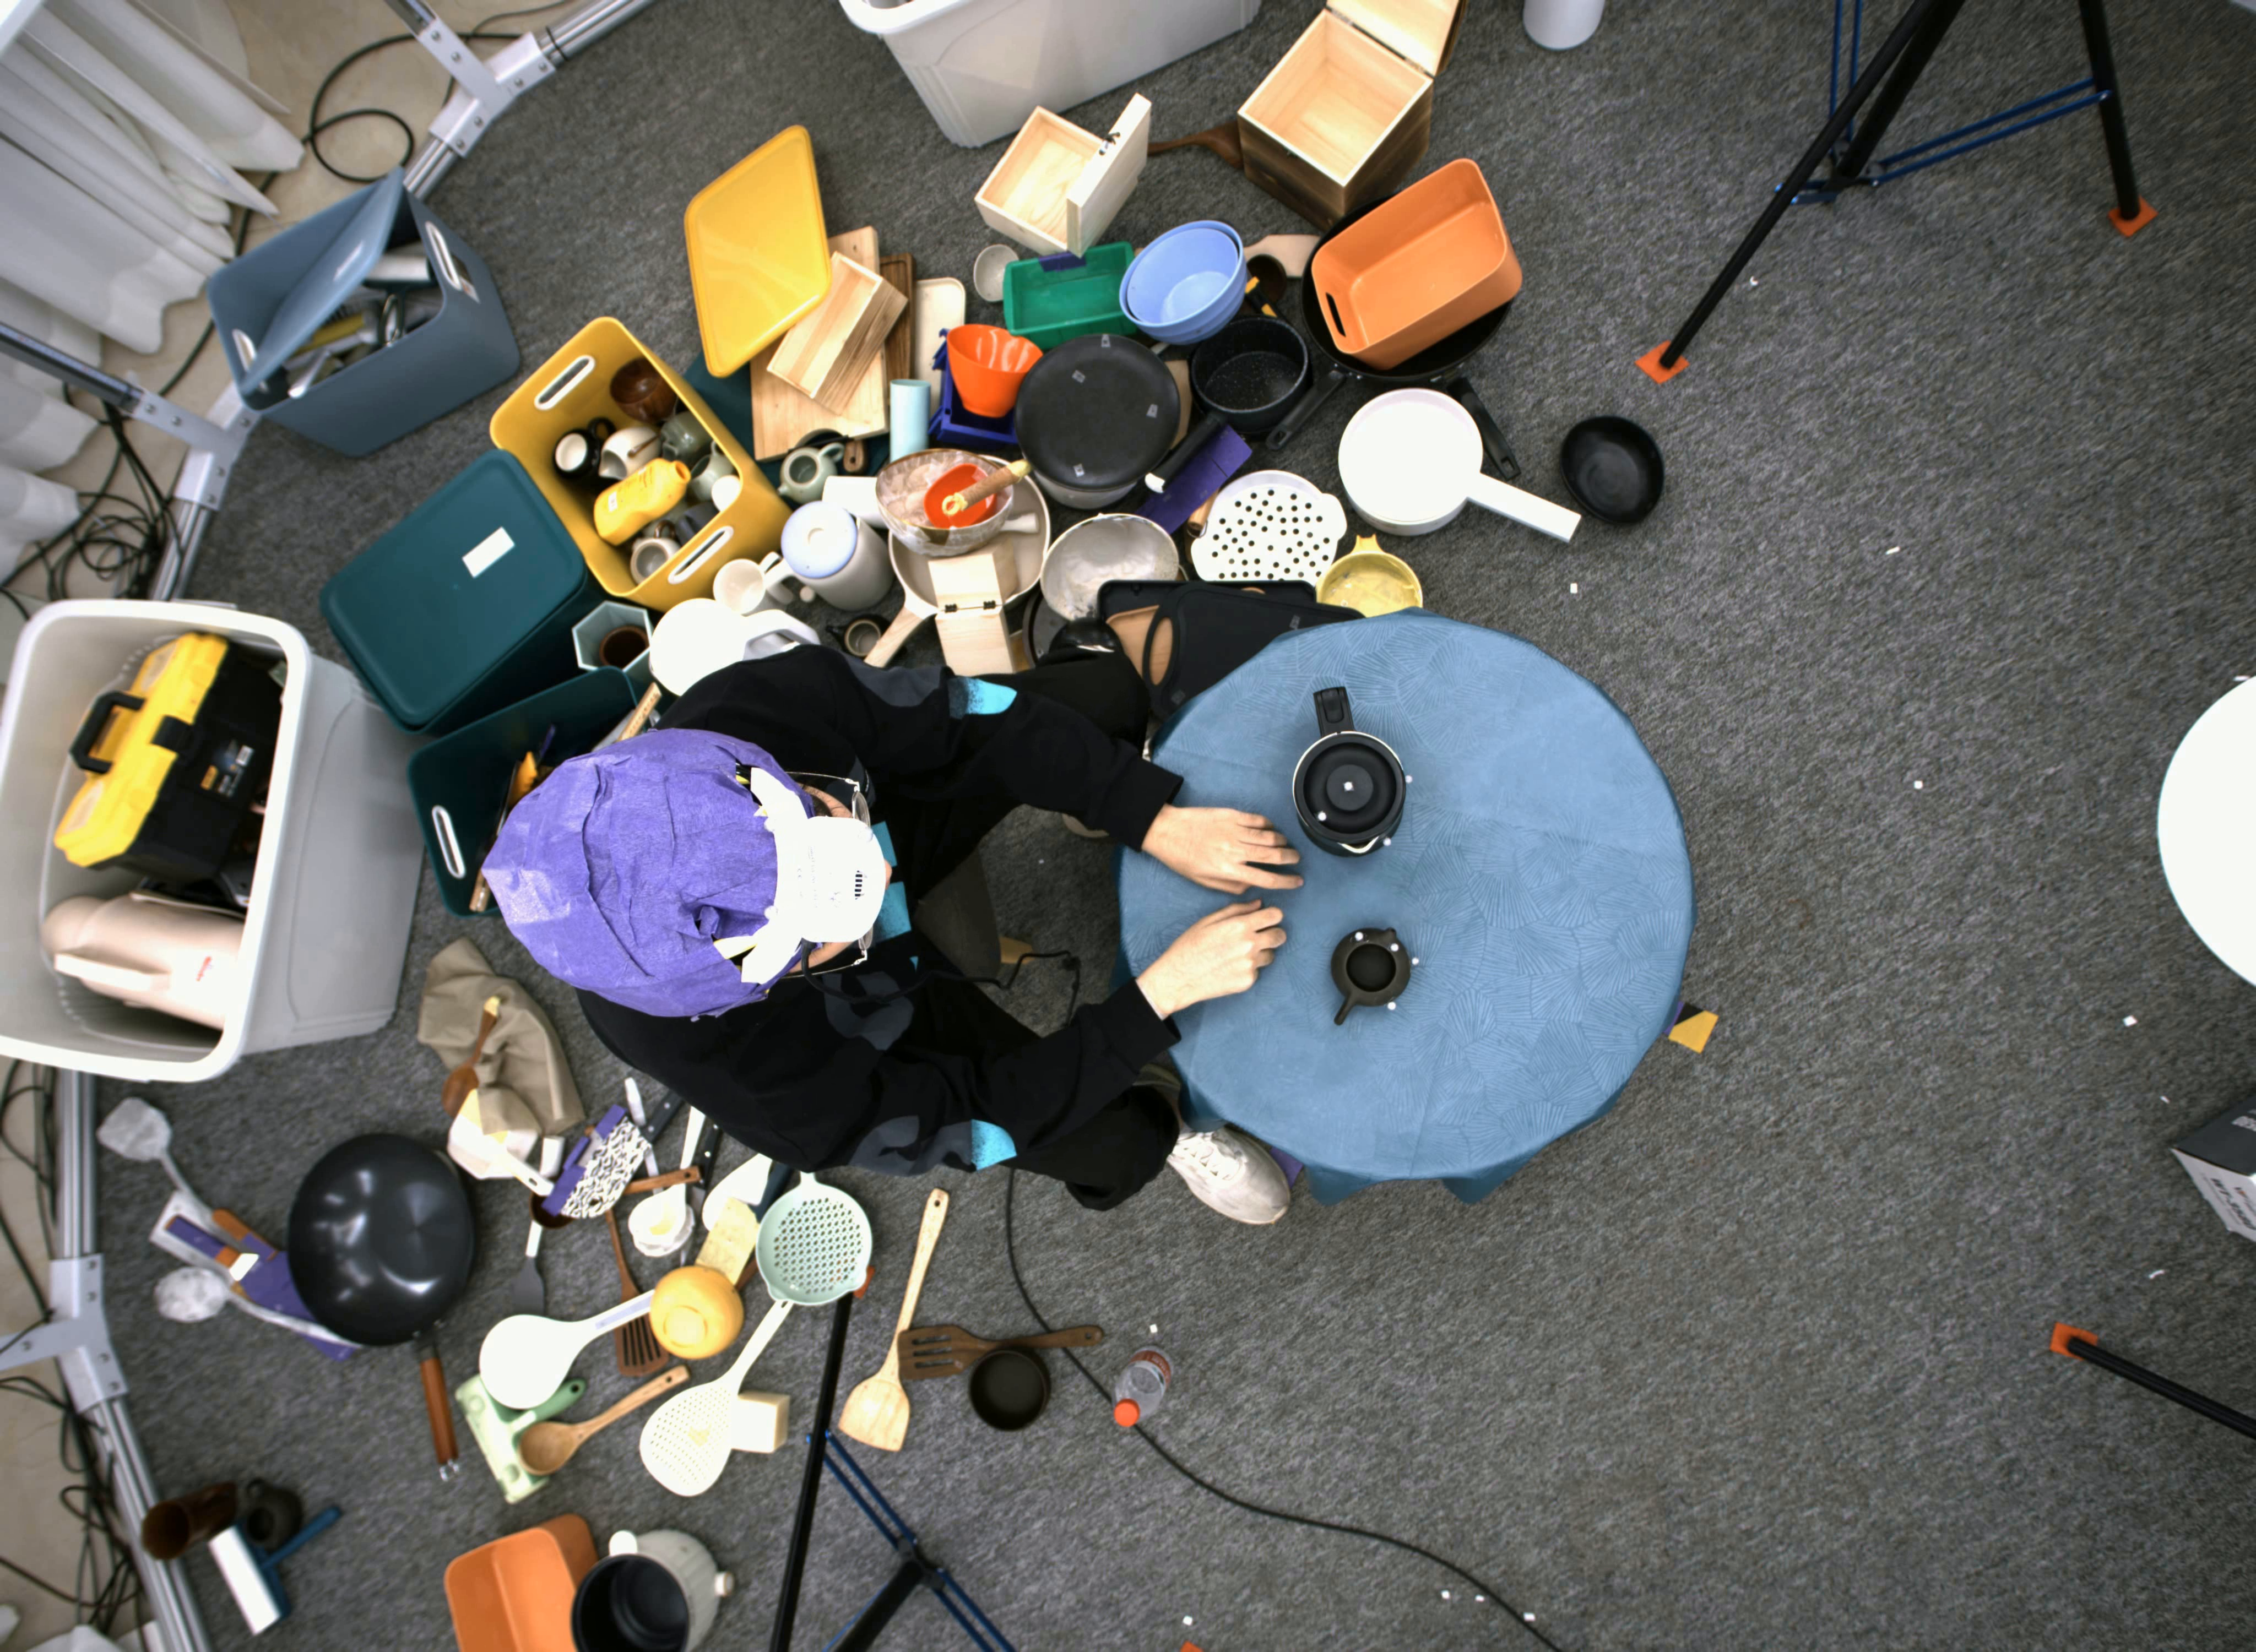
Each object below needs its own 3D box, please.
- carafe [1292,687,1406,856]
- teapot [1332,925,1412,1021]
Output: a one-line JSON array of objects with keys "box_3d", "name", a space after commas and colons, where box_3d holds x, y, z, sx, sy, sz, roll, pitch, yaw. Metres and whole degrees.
[{"box_3d": [0.218, -0.053, 1.385, 0.115, 0.173, 0.171, -12, 86, 10], "name": "carafe"}, {"box_3d": [0.245, 0.152, 1.431, 0.082, 0.053, 0.114, 36, 90, 11], "name": "teapot"}]
